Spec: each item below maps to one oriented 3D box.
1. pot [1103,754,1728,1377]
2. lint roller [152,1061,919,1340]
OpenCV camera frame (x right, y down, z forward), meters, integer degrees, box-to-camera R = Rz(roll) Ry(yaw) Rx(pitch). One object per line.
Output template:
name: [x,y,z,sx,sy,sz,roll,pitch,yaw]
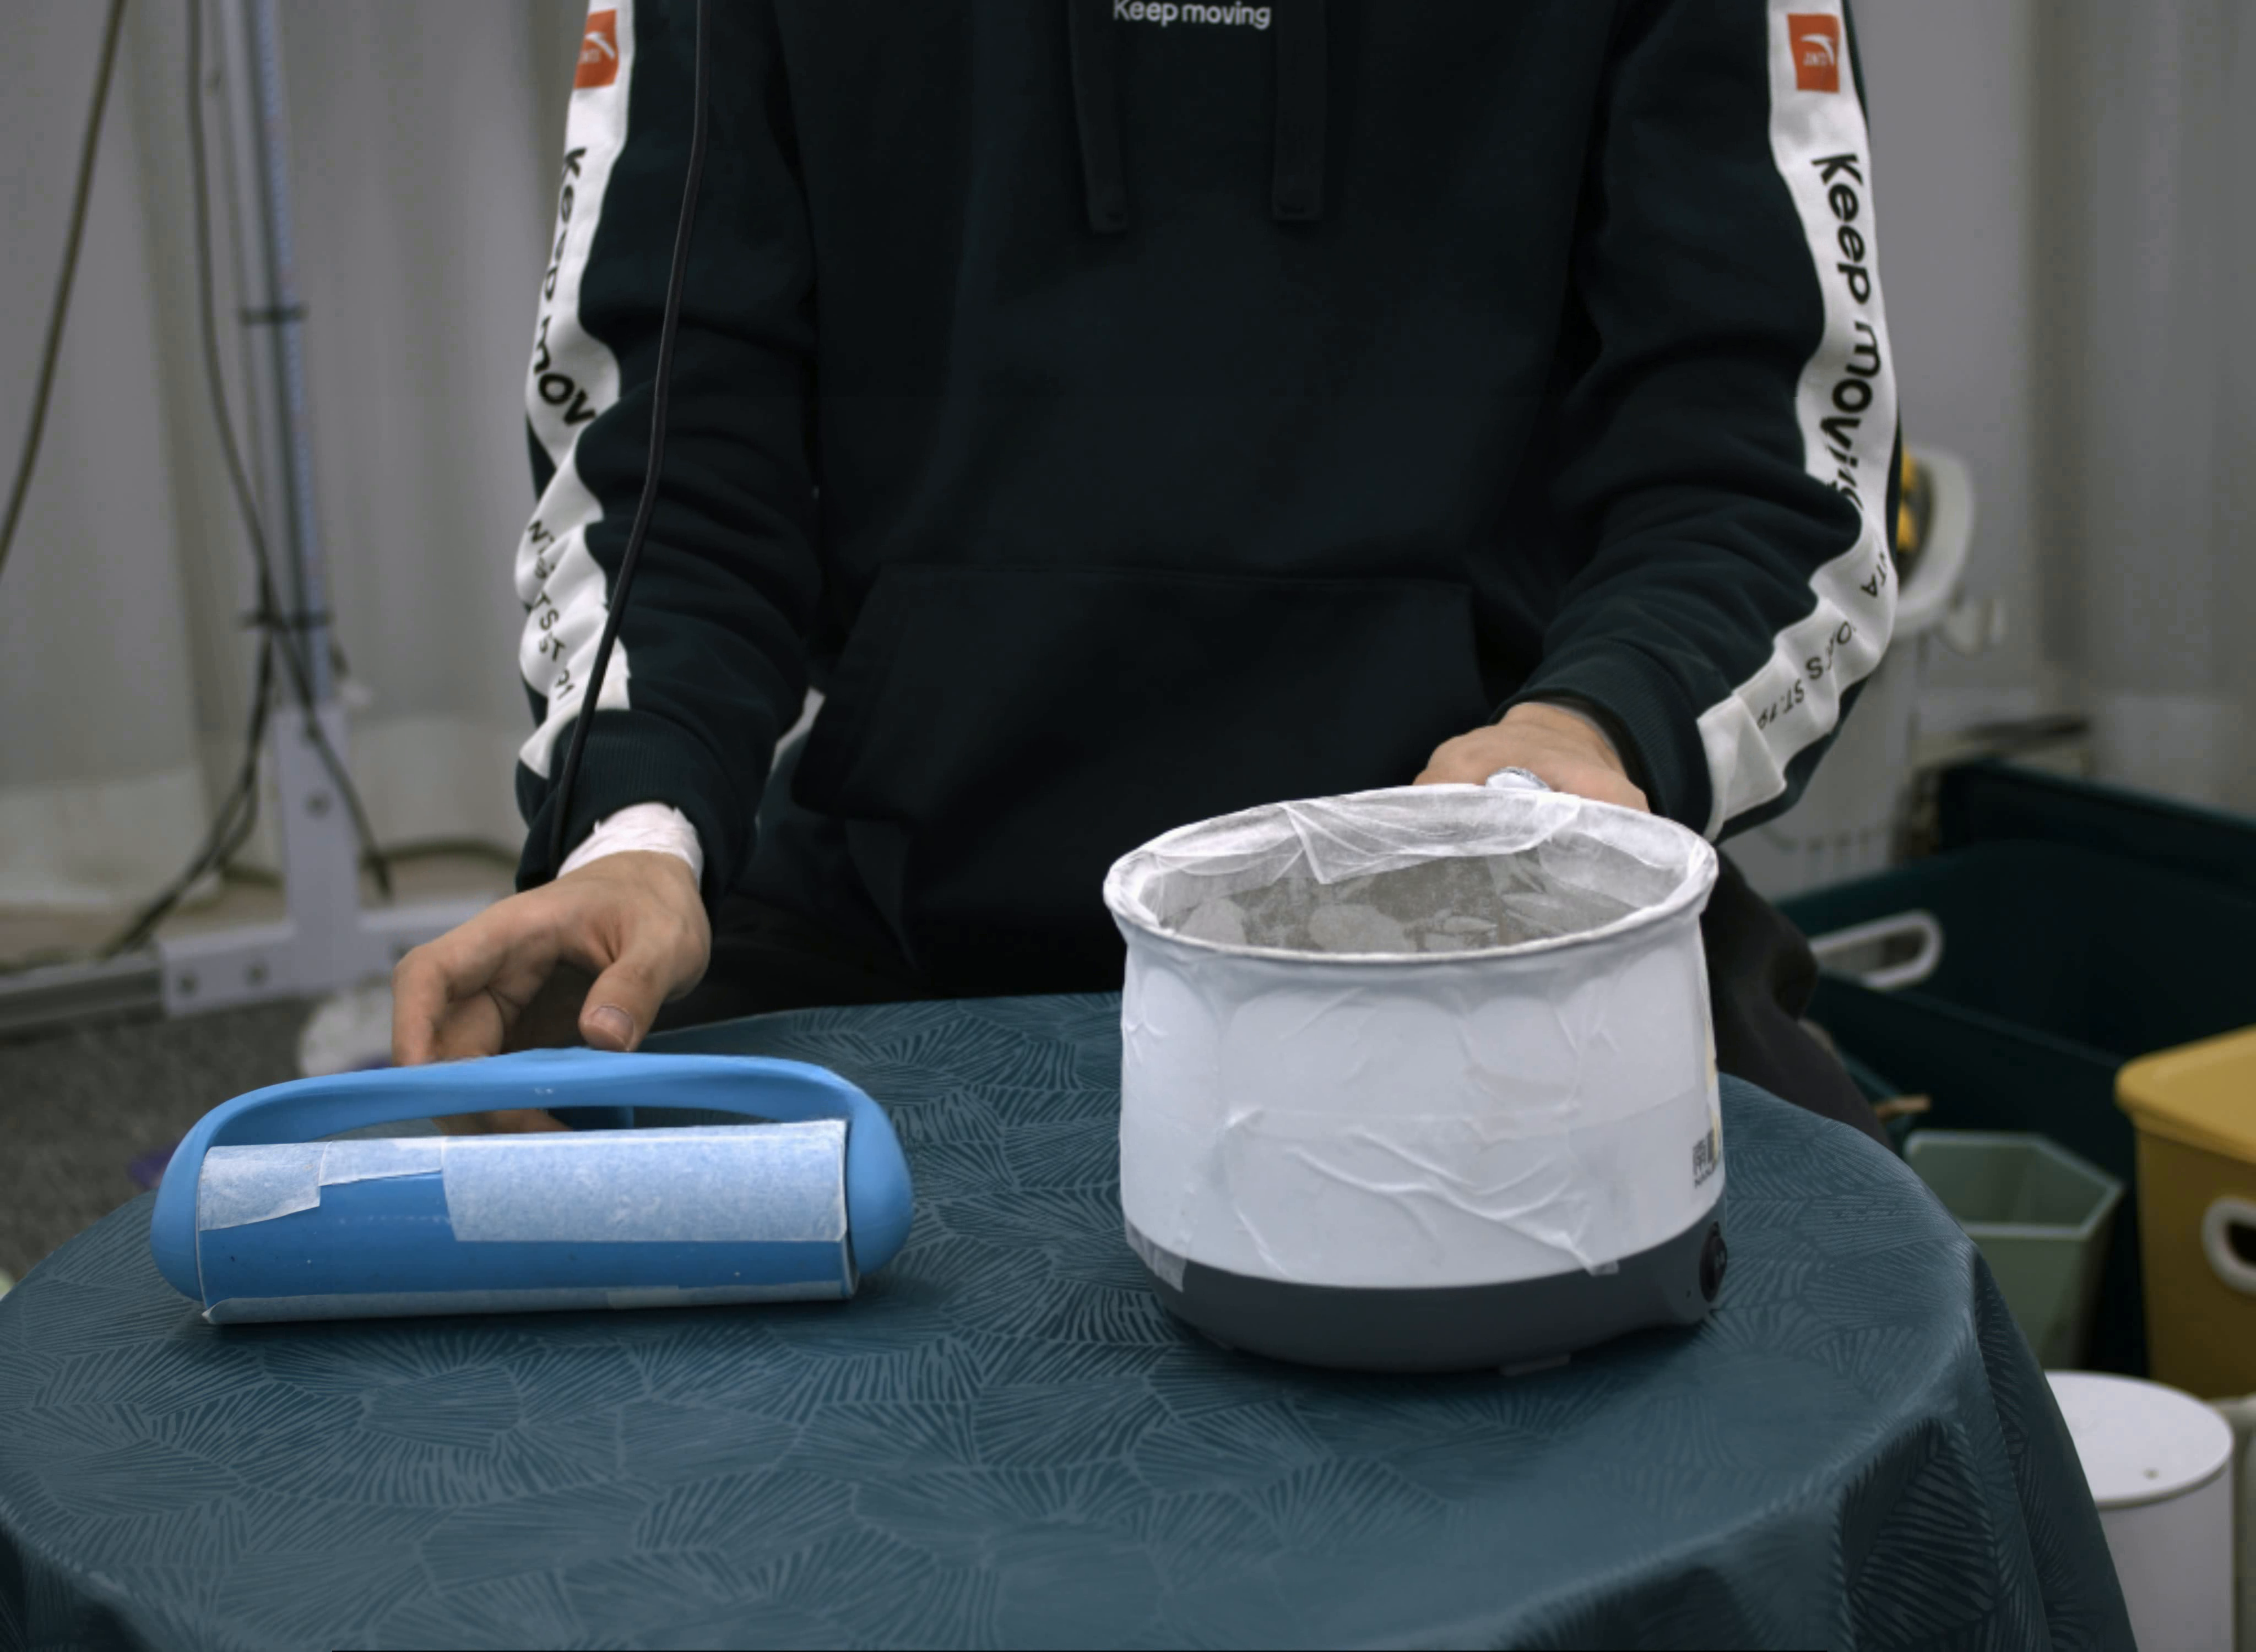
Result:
pot: [0.094,0.064,1.611,0.179,0.136,0.234,3,17,20]
lint roller: [-0.179,0.103,1.685,0.228,0.067,0.181,-5,16,-1]
